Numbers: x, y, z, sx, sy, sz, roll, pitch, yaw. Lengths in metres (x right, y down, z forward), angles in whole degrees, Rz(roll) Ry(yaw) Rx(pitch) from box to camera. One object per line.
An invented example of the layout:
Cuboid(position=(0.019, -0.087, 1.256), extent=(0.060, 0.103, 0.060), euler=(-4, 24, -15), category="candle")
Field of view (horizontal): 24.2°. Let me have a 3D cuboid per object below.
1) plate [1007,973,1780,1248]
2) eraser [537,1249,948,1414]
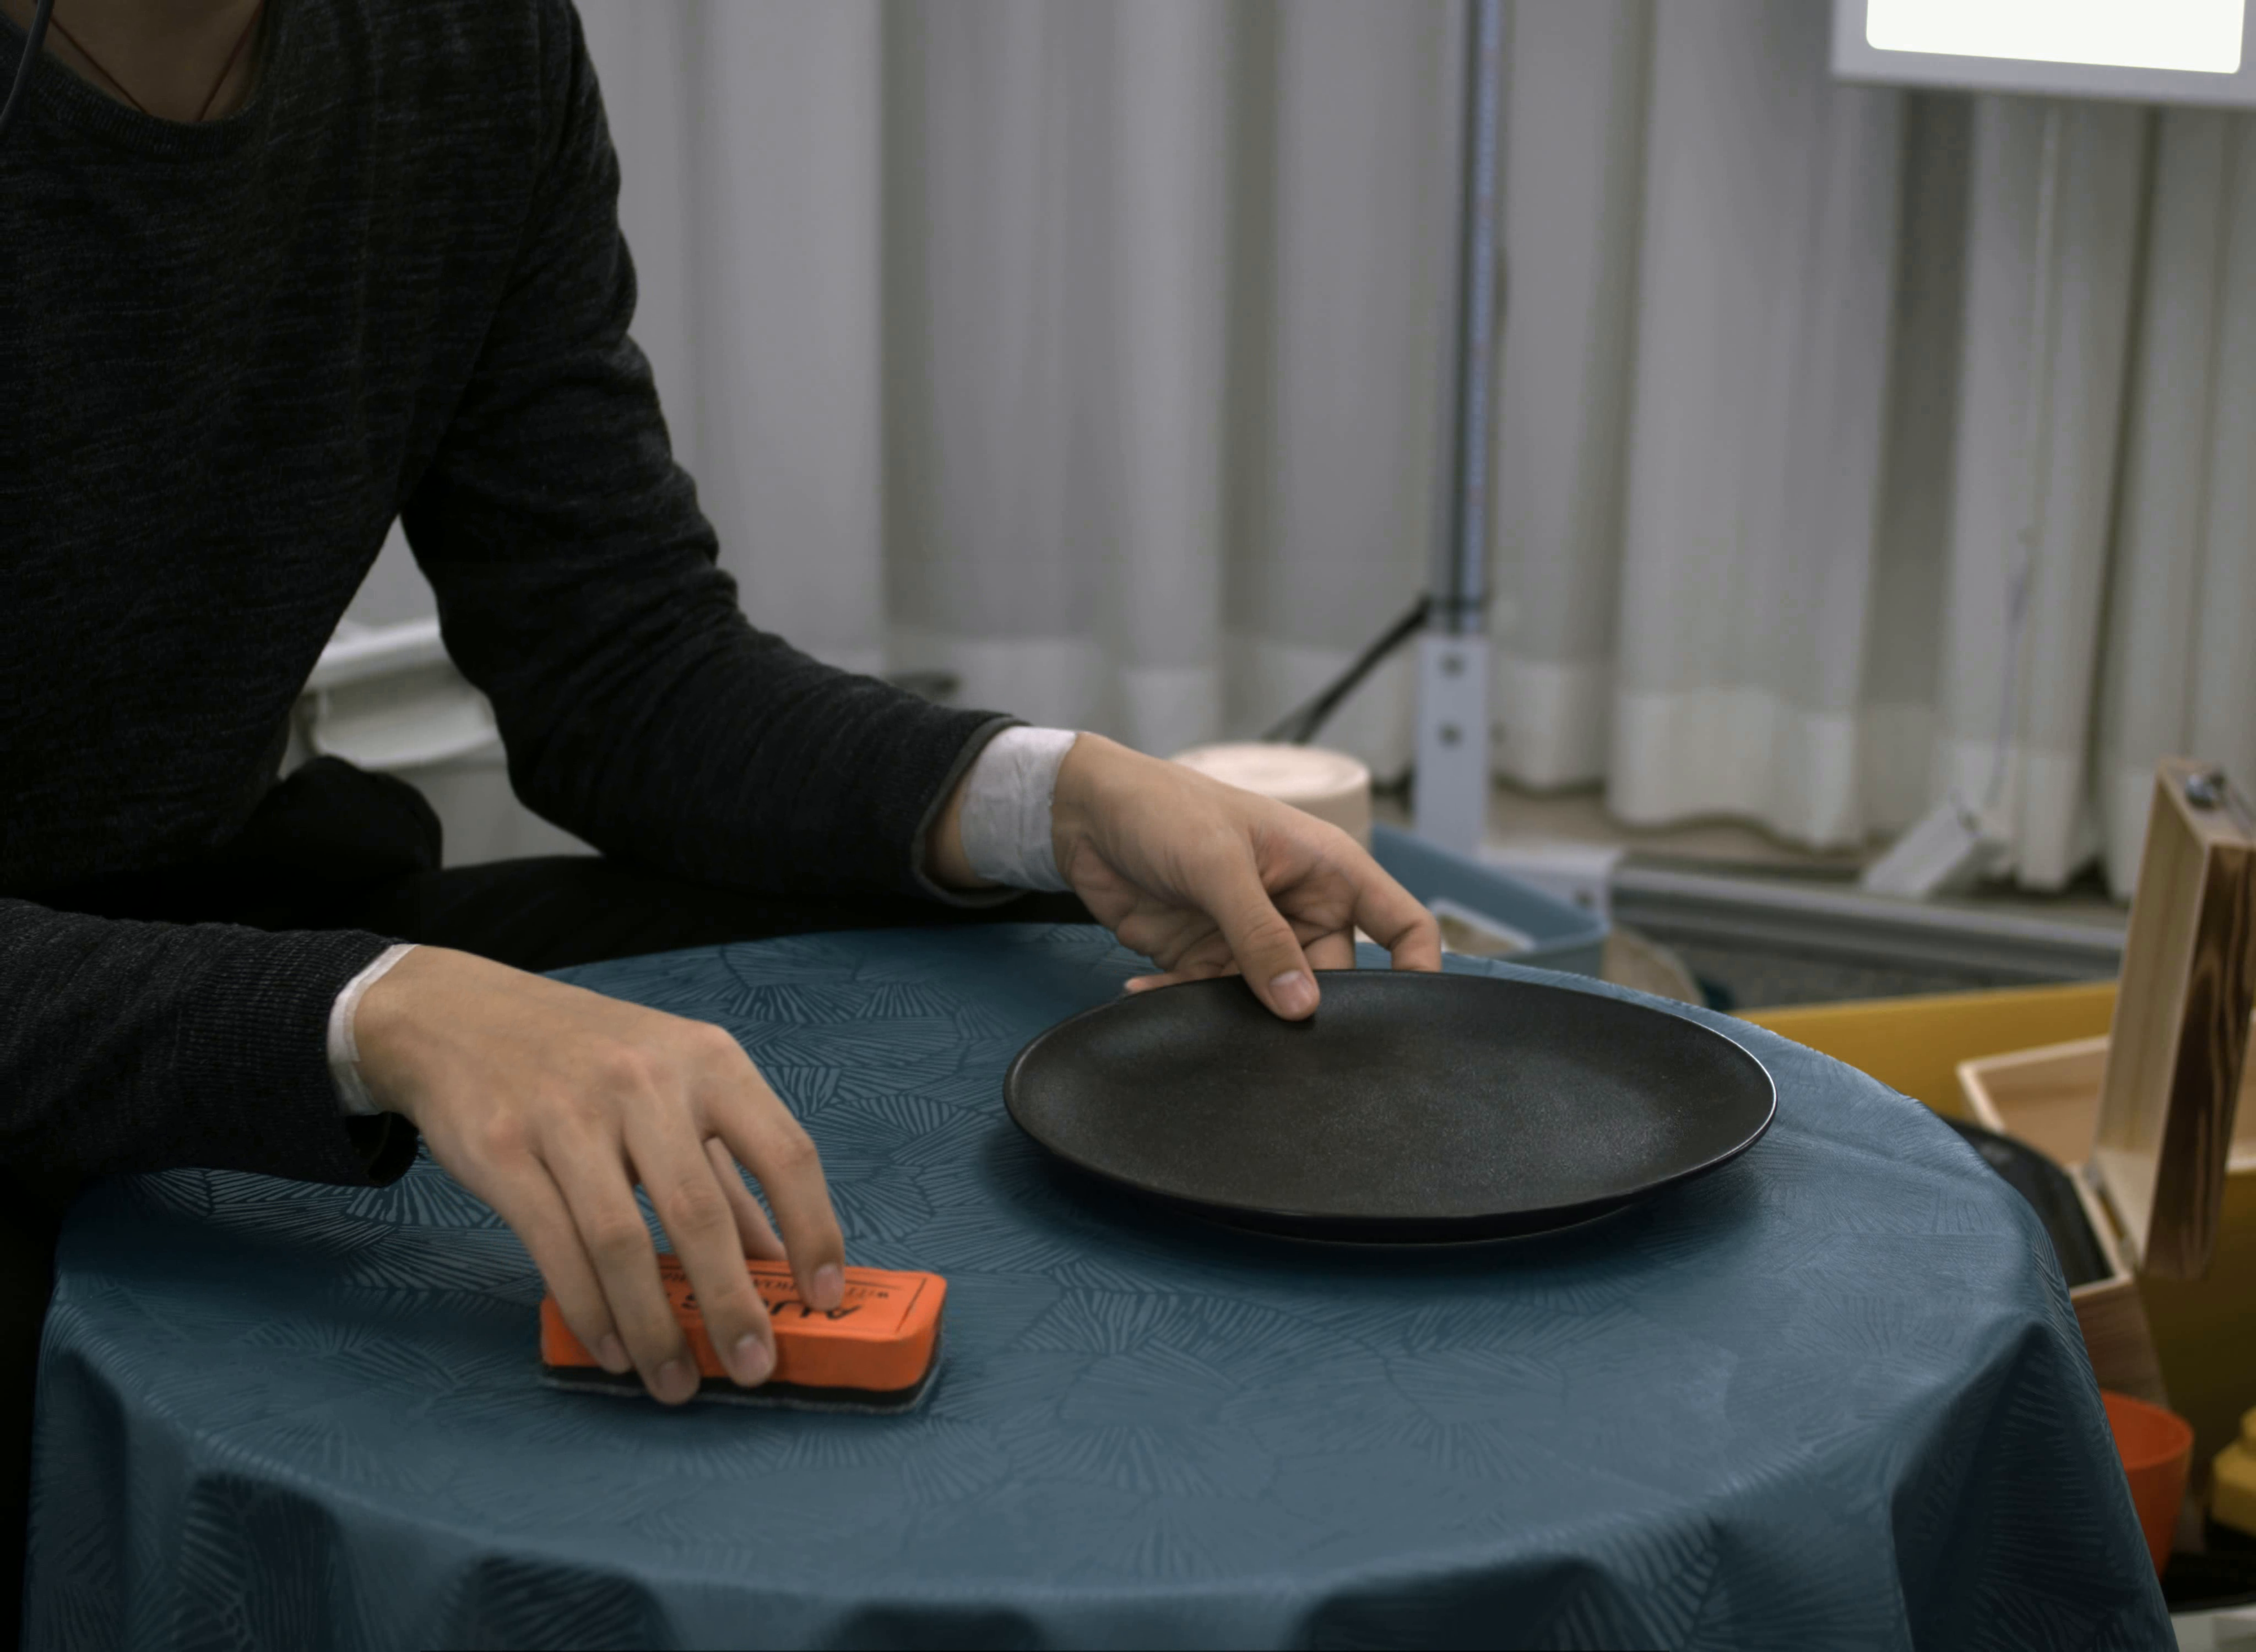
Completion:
Cuboid(position=(0.083, 0.091, 1.657), extent=(0.243, 0.023, 0.243), euler=(0, 16, 0), category="plate")
Cuboid(position=(-0.107, 0.140, 1.469), extent=(0.107, 0.023, 0.059), euler=(4, 14, 11), category="eraser")
